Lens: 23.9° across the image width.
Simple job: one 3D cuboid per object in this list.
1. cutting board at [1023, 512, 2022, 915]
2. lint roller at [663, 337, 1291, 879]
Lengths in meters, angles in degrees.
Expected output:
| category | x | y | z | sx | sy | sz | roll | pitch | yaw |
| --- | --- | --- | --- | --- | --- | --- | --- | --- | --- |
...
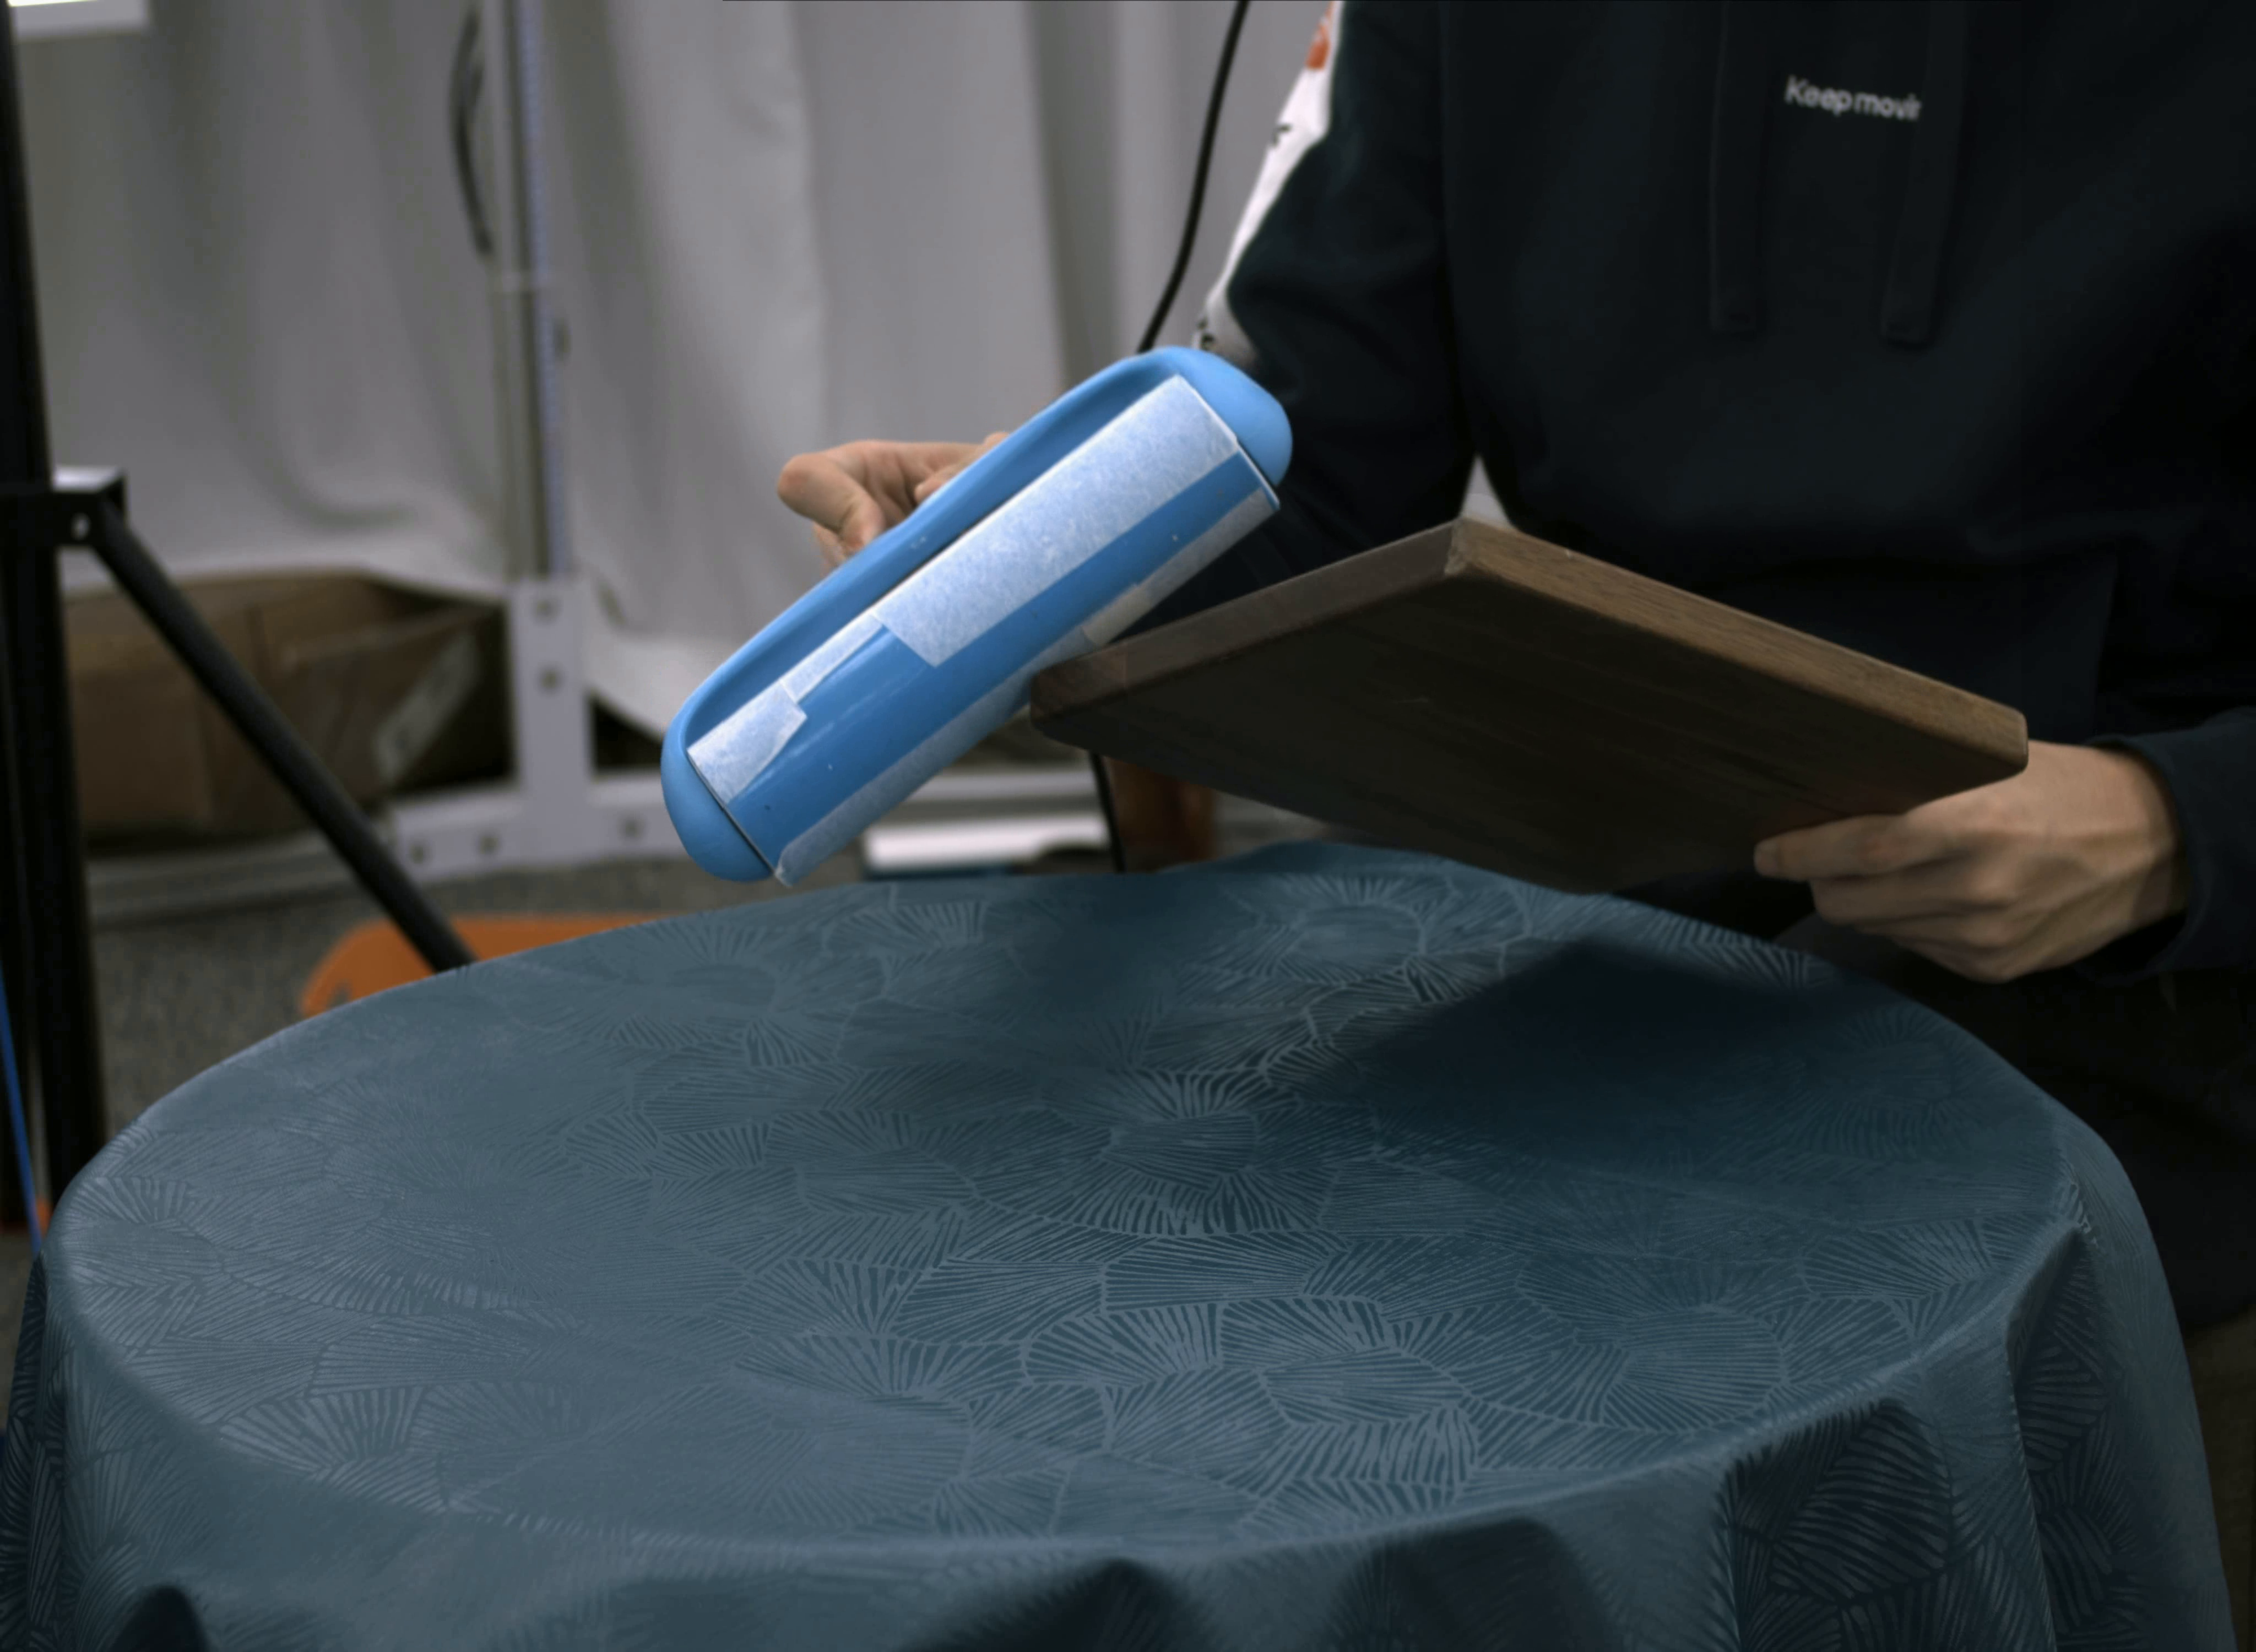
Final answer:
| category | x | y | z | sx | sy | sz | roll | pitch | yaw |
| --- | --- | --- | --- | --- | --- | --- | --- | --- | --- |
| cutting board | 0.158 | -0.020 | 1.657 | 0.343 | 0.023 | 0.204 | 17 | -24 | -38 |
| lint roller | -0.055 | -0.073 | 1.698 | 0.228 | 0.067 | 0.182 | -40 | 12 | -1 |
